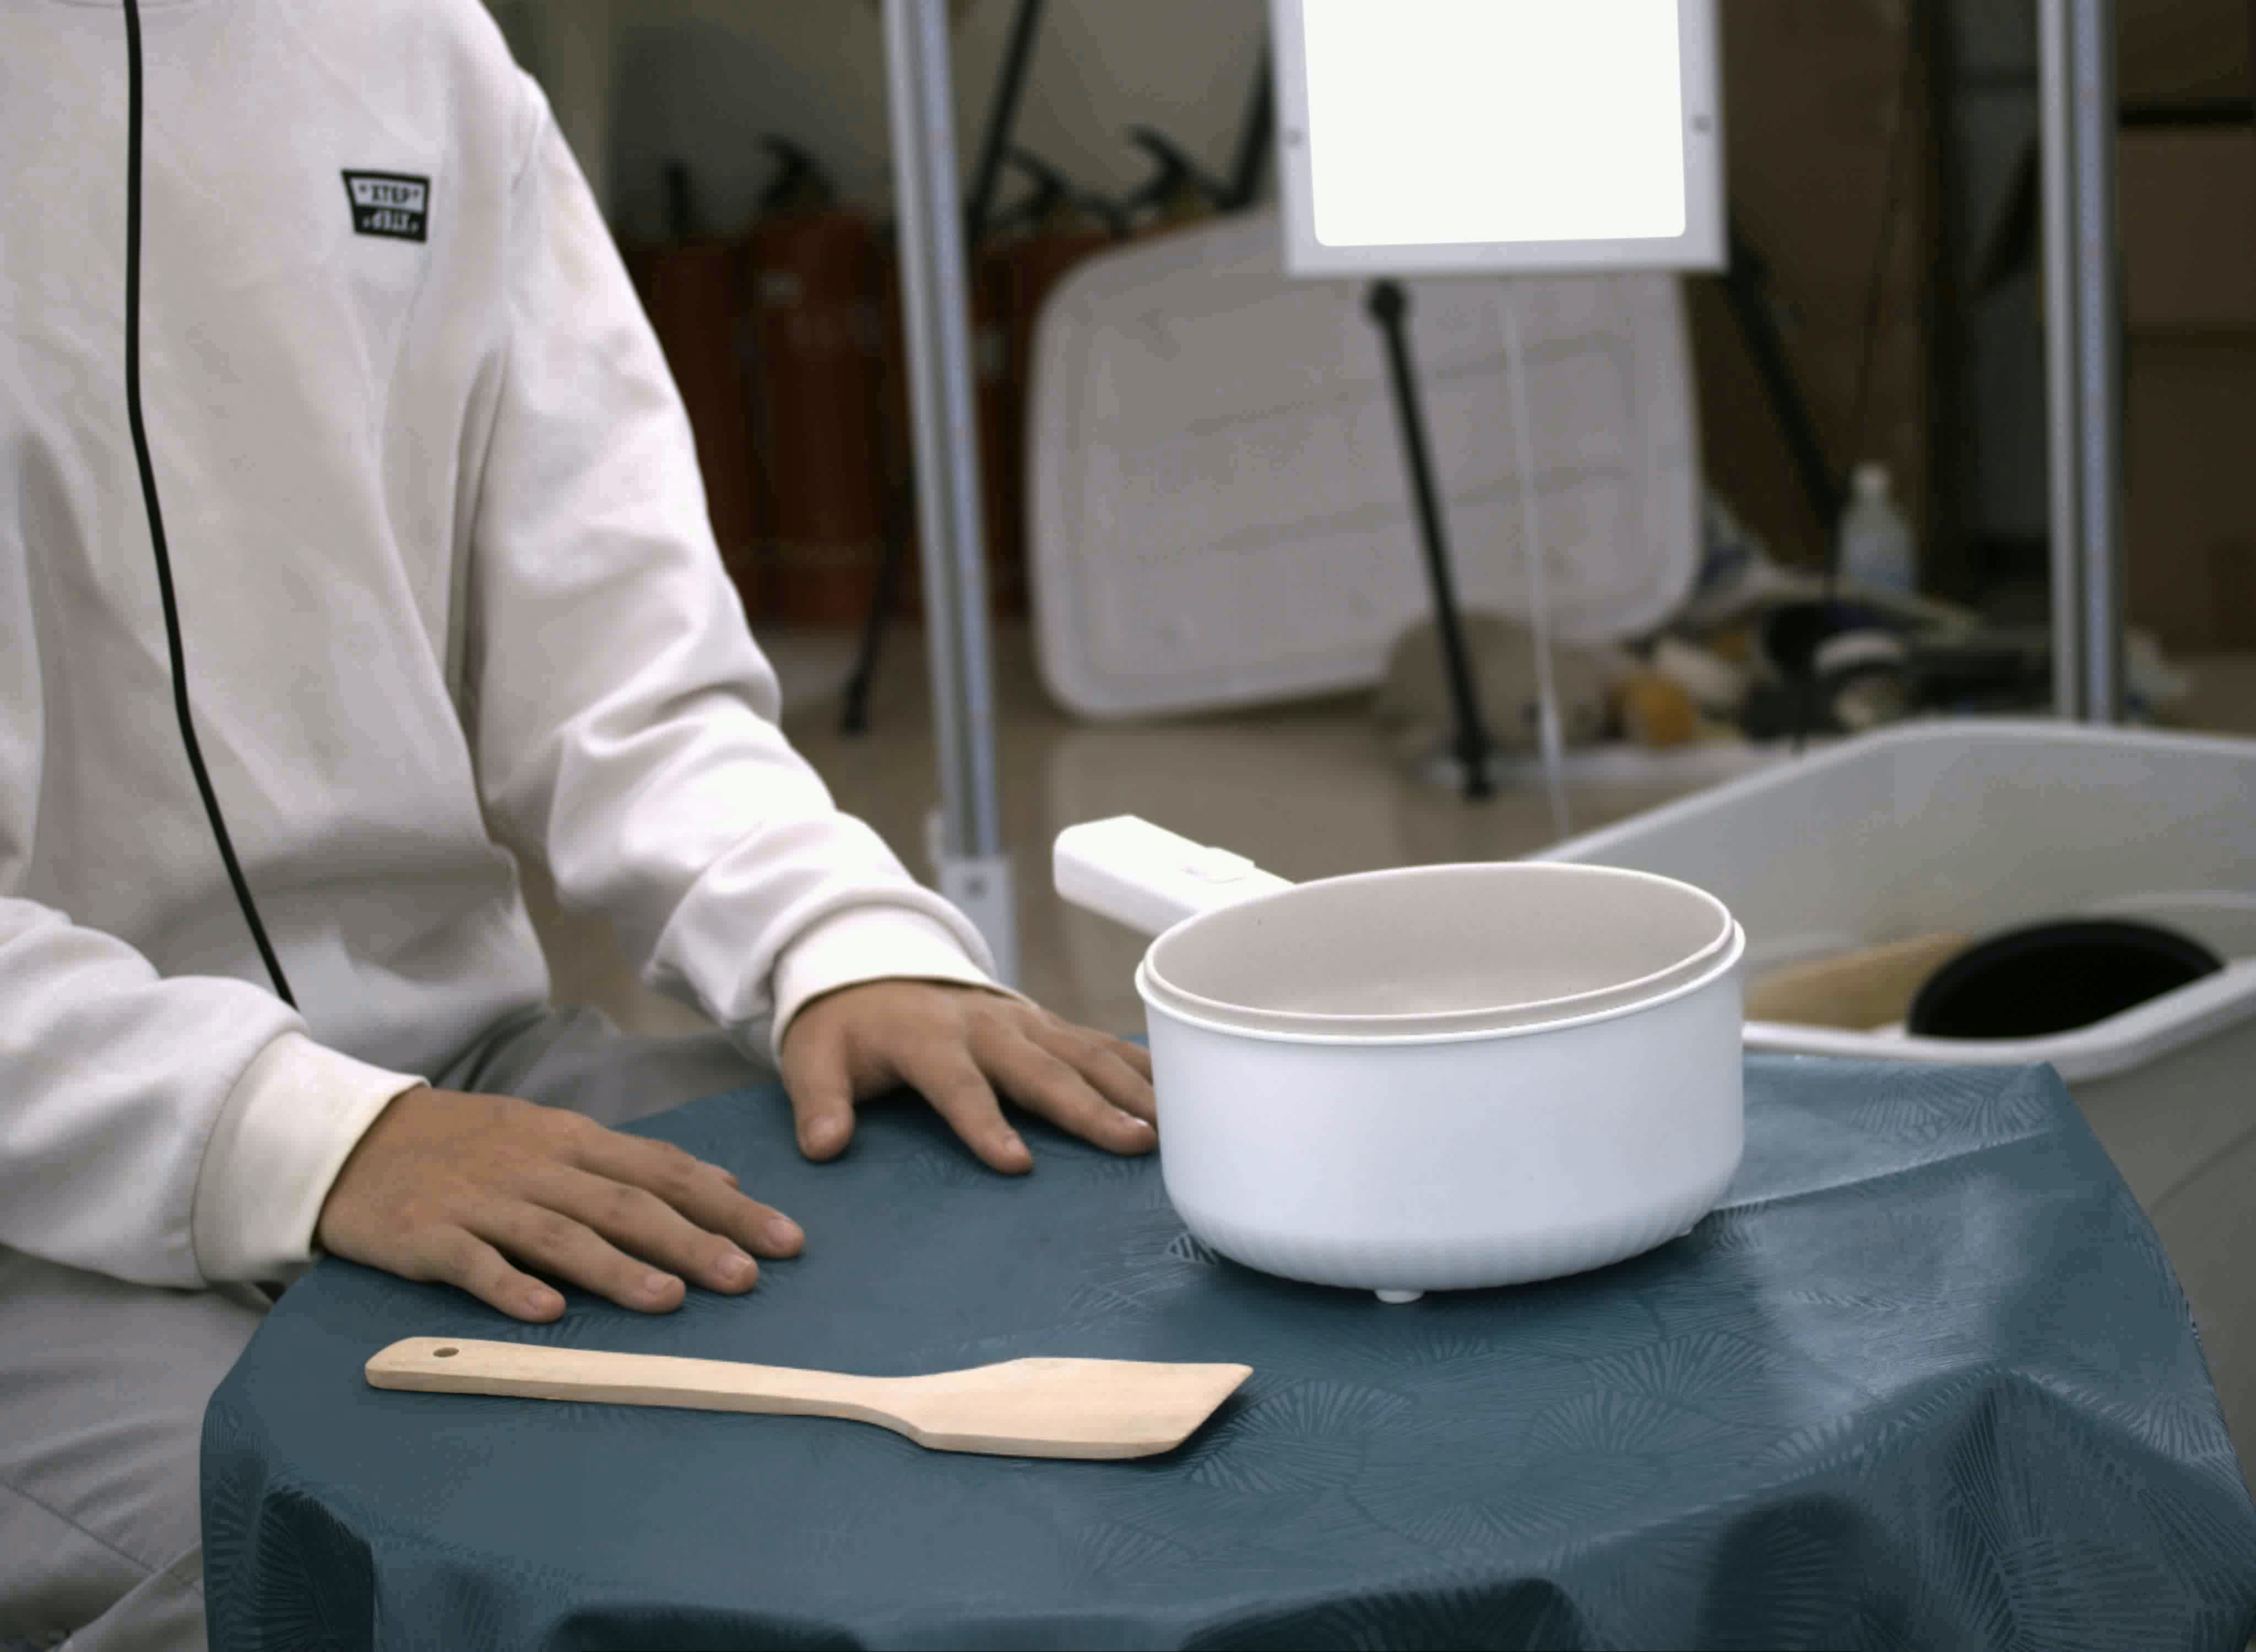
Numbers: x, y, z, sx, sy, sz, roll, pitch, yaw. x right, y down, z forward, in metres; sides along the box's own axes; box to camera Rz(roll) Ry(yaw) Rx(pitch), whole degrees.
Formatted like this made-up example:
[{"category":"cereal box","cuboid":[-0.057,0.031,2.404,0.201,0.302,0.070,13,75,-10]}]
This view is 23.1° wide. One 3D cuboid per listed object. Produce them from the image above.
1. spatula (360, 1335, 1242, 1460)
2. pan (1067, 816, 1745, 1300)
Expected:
[{"category":"spatula","cuboid":[-0.110,0.175,1.720,0.297,0.011,0.071,1,16,25]},{"category":"pan","cuboid":[0.072,0.072,1.887,0.197,0.102,0.360,-12,14,-24]}]
